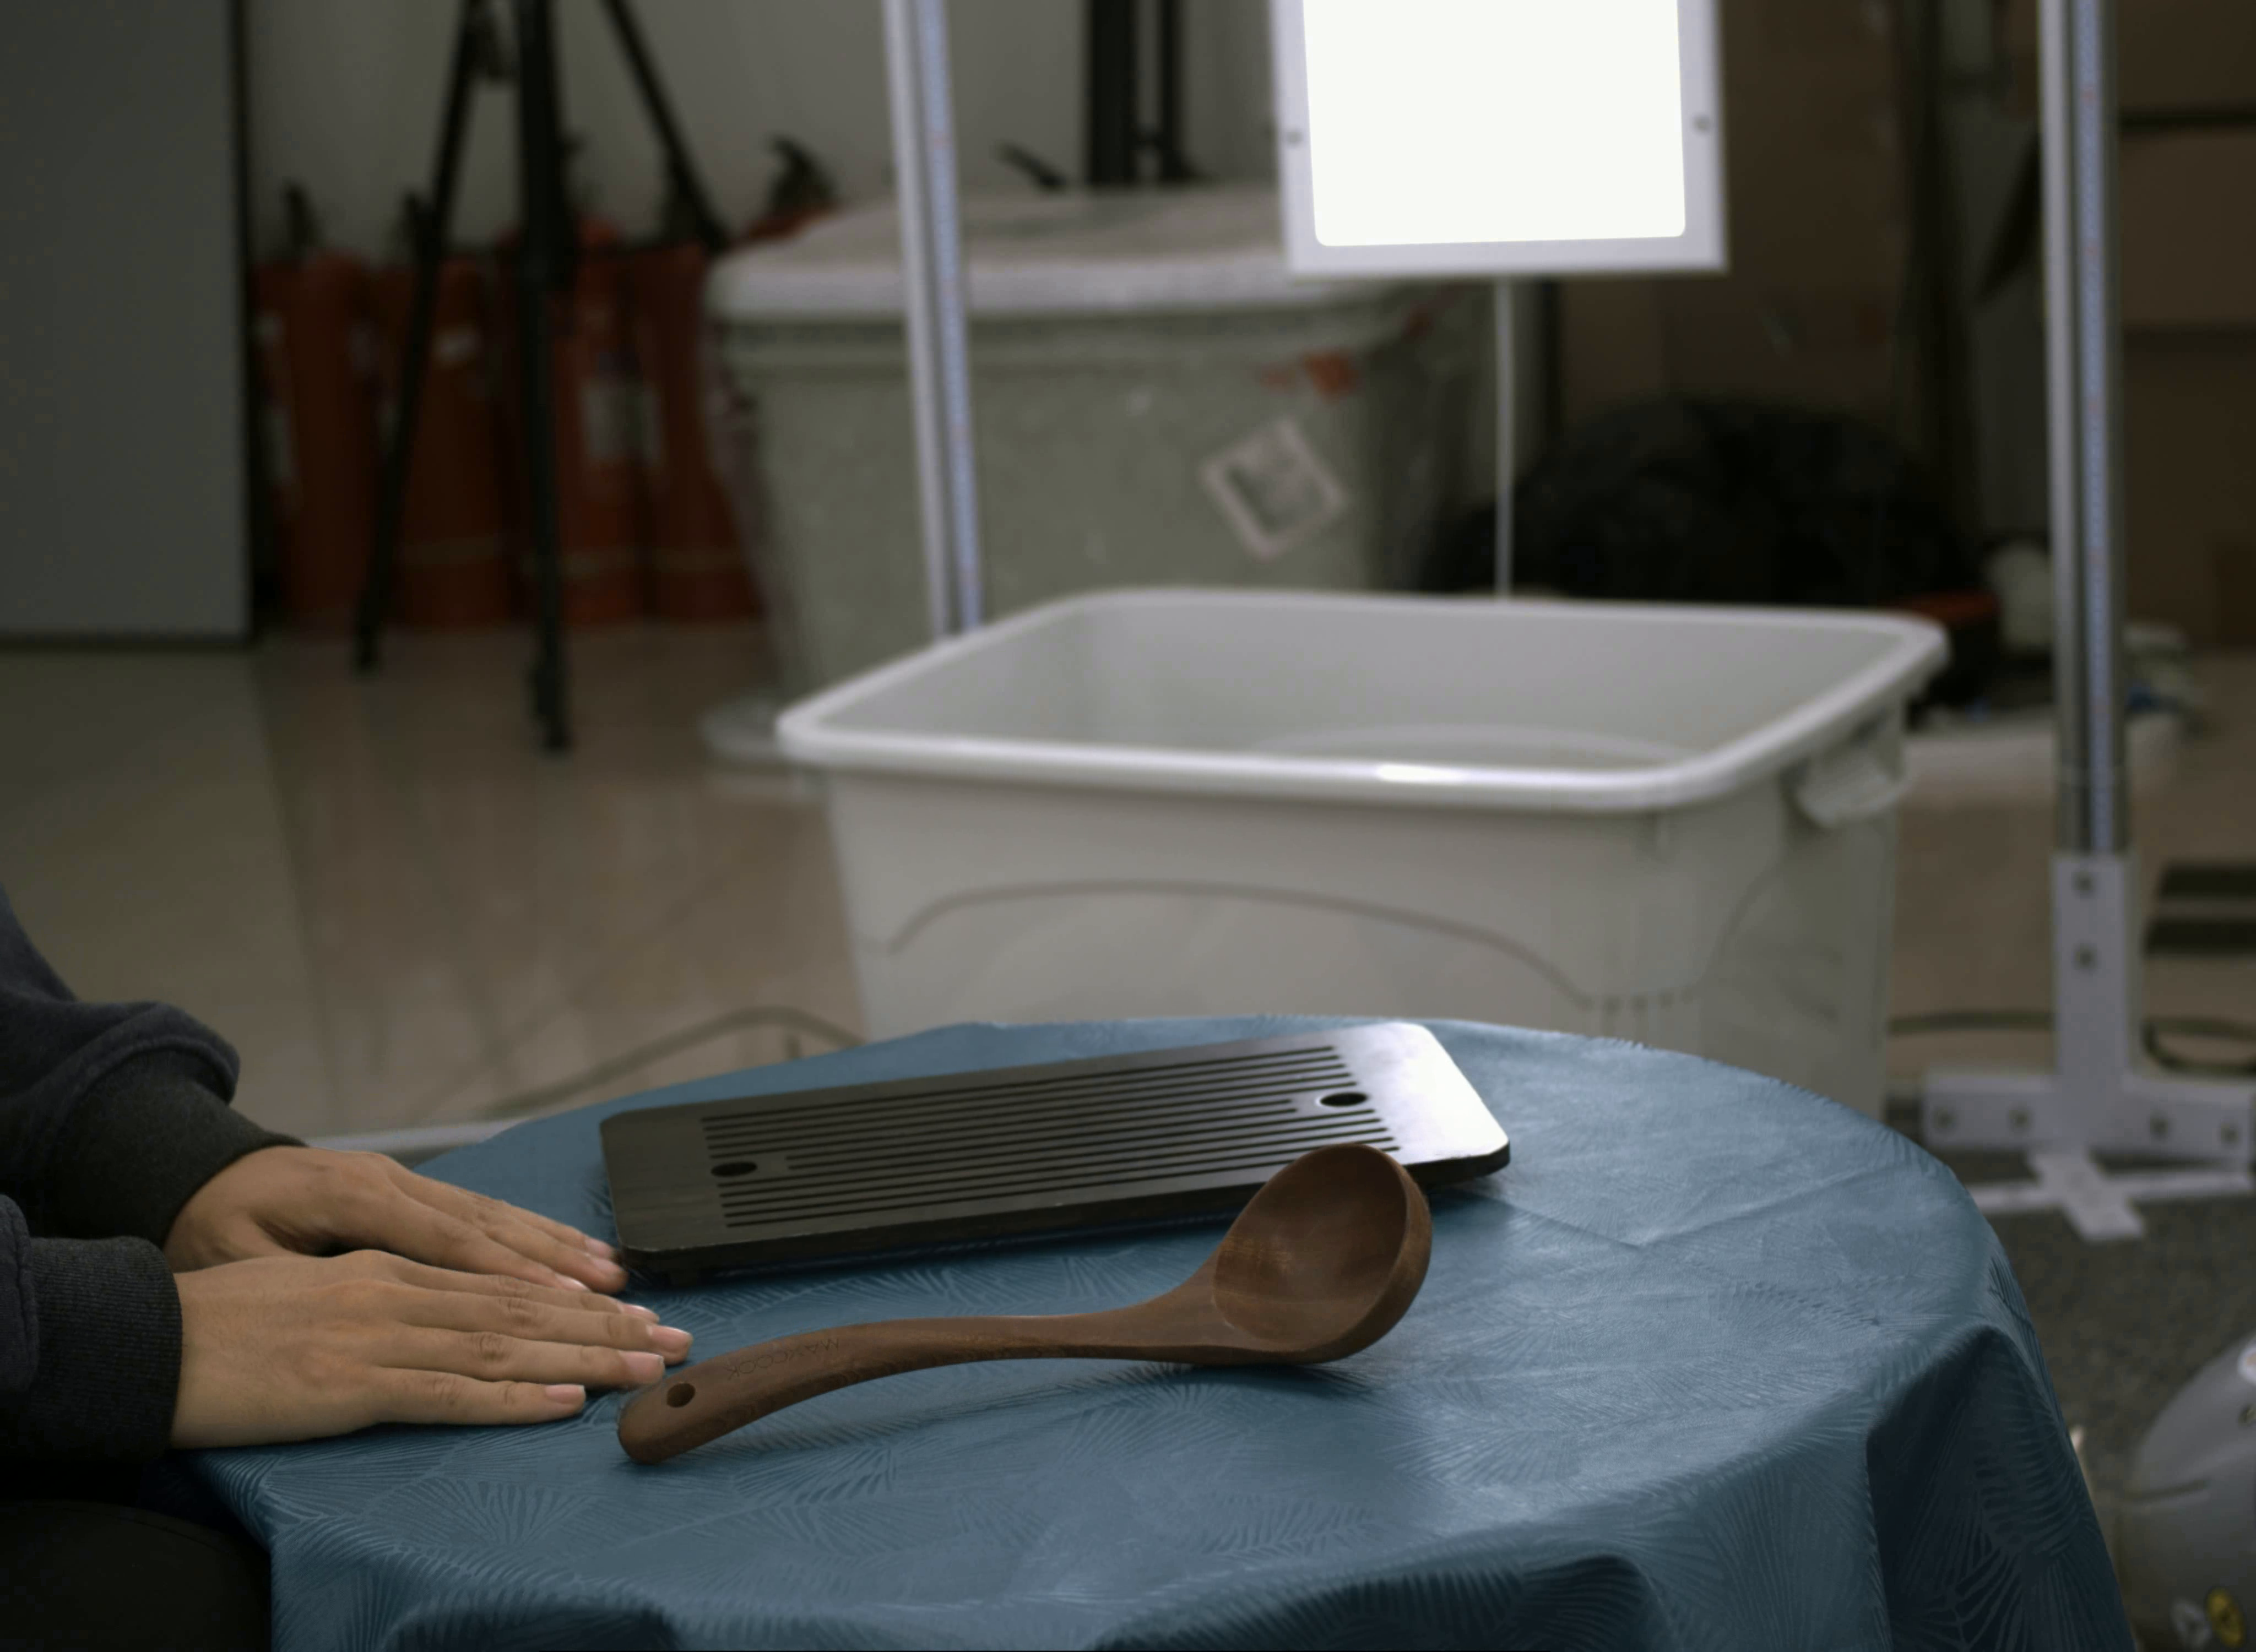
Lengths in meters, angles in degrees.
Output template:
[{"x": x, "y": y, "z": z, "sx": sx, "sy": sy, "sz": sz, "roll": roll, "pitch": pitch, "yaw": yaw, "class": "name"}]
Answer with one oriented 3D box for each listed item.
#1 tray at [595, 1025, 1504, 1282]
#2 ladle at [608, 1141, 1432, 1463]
[{"x": -0.031, "y": 0.114, "z": 1.923, "sx": 0.304, "sy": 0.019, "sz": 0.170, "roll": -6, "pitch": 14, "yaw": -5, "class": "tray"}, {"x": -0.032, "y": 0.147, "z": 1.690, "sx": 0.257, "sy": 0.065, "sz": 0.077, "roll": -8, "pitch": 34, "yaw": -12, "class": "ladle"}]
